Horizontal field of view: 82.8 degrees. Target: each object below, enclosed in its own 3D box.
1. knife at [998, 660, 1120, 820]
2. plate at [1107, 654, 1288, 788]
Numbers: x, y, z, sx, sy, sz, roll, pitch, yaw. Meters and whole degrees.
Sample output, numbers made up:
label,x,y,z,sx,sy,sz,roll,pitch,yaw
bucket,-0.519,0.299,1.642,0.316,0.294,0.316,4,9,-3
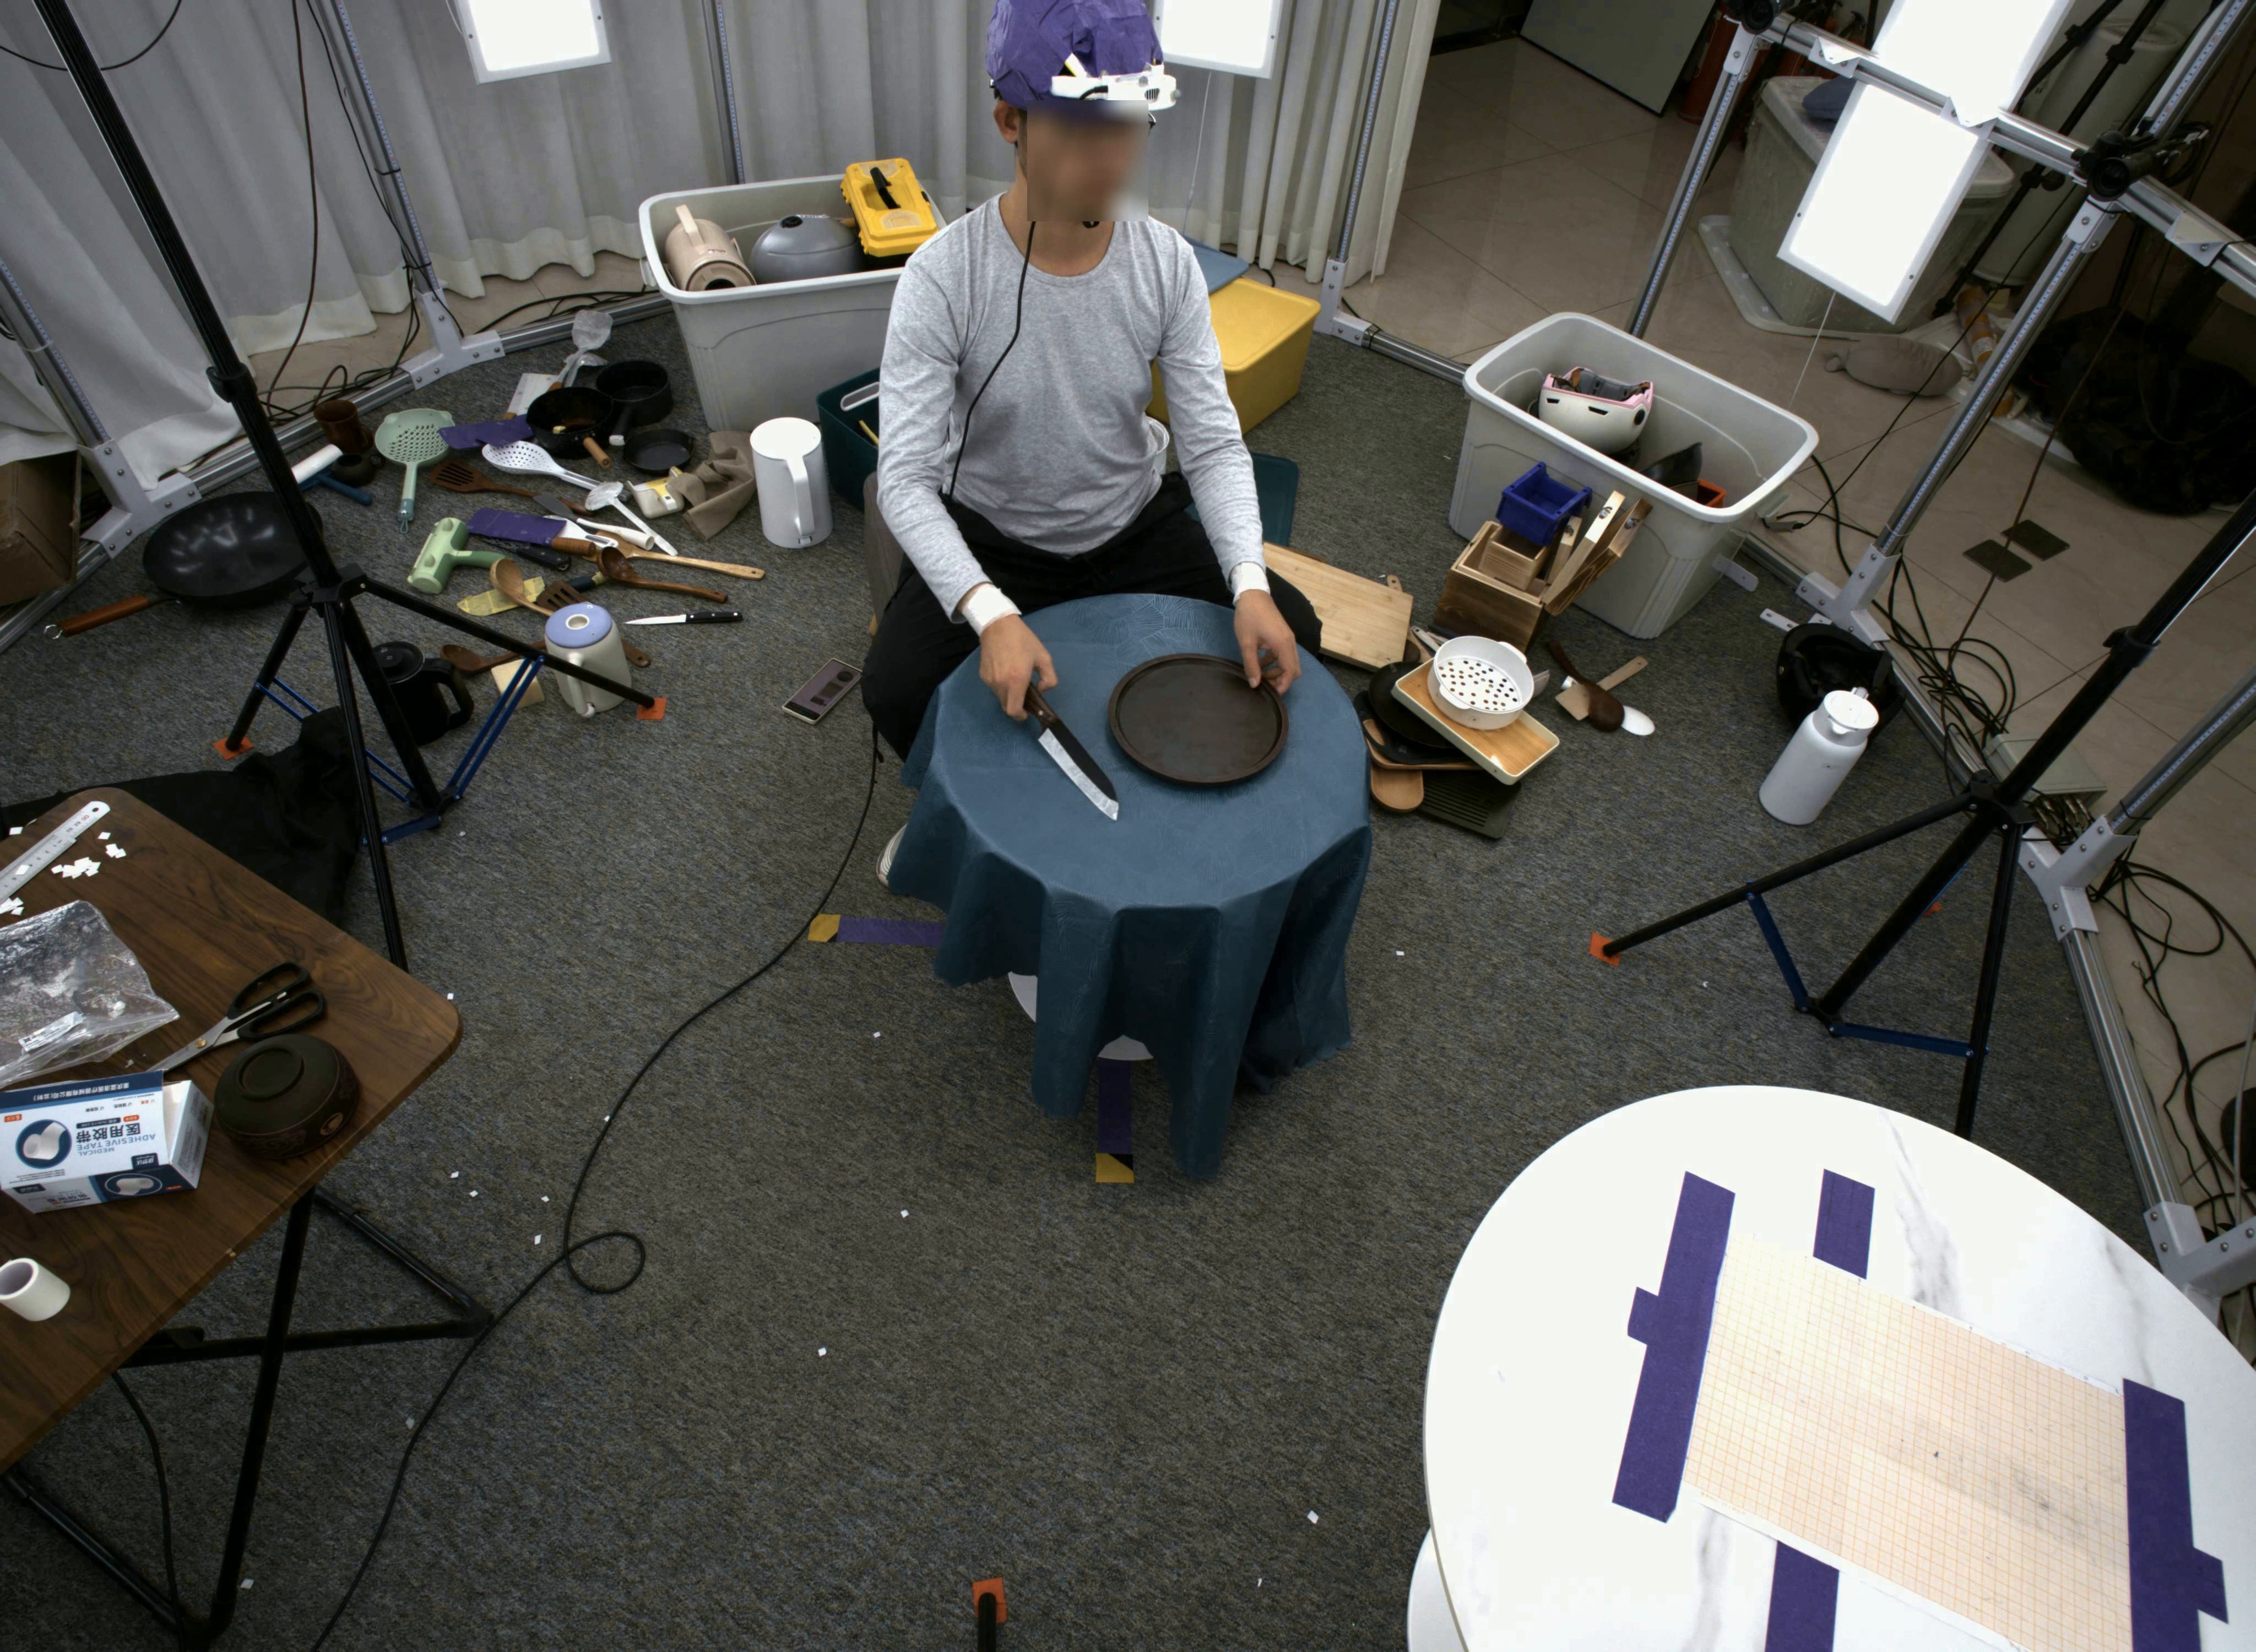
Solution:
label,x,y,z,sx,sy,sz,roll,pitch,yaw
knife,-0.092,-0.118,1.725,0.294,0.050,0.020,53,24,23
plate,0.097,-0.149,1.787,0.254,0.028,0.261,1,49,-1
